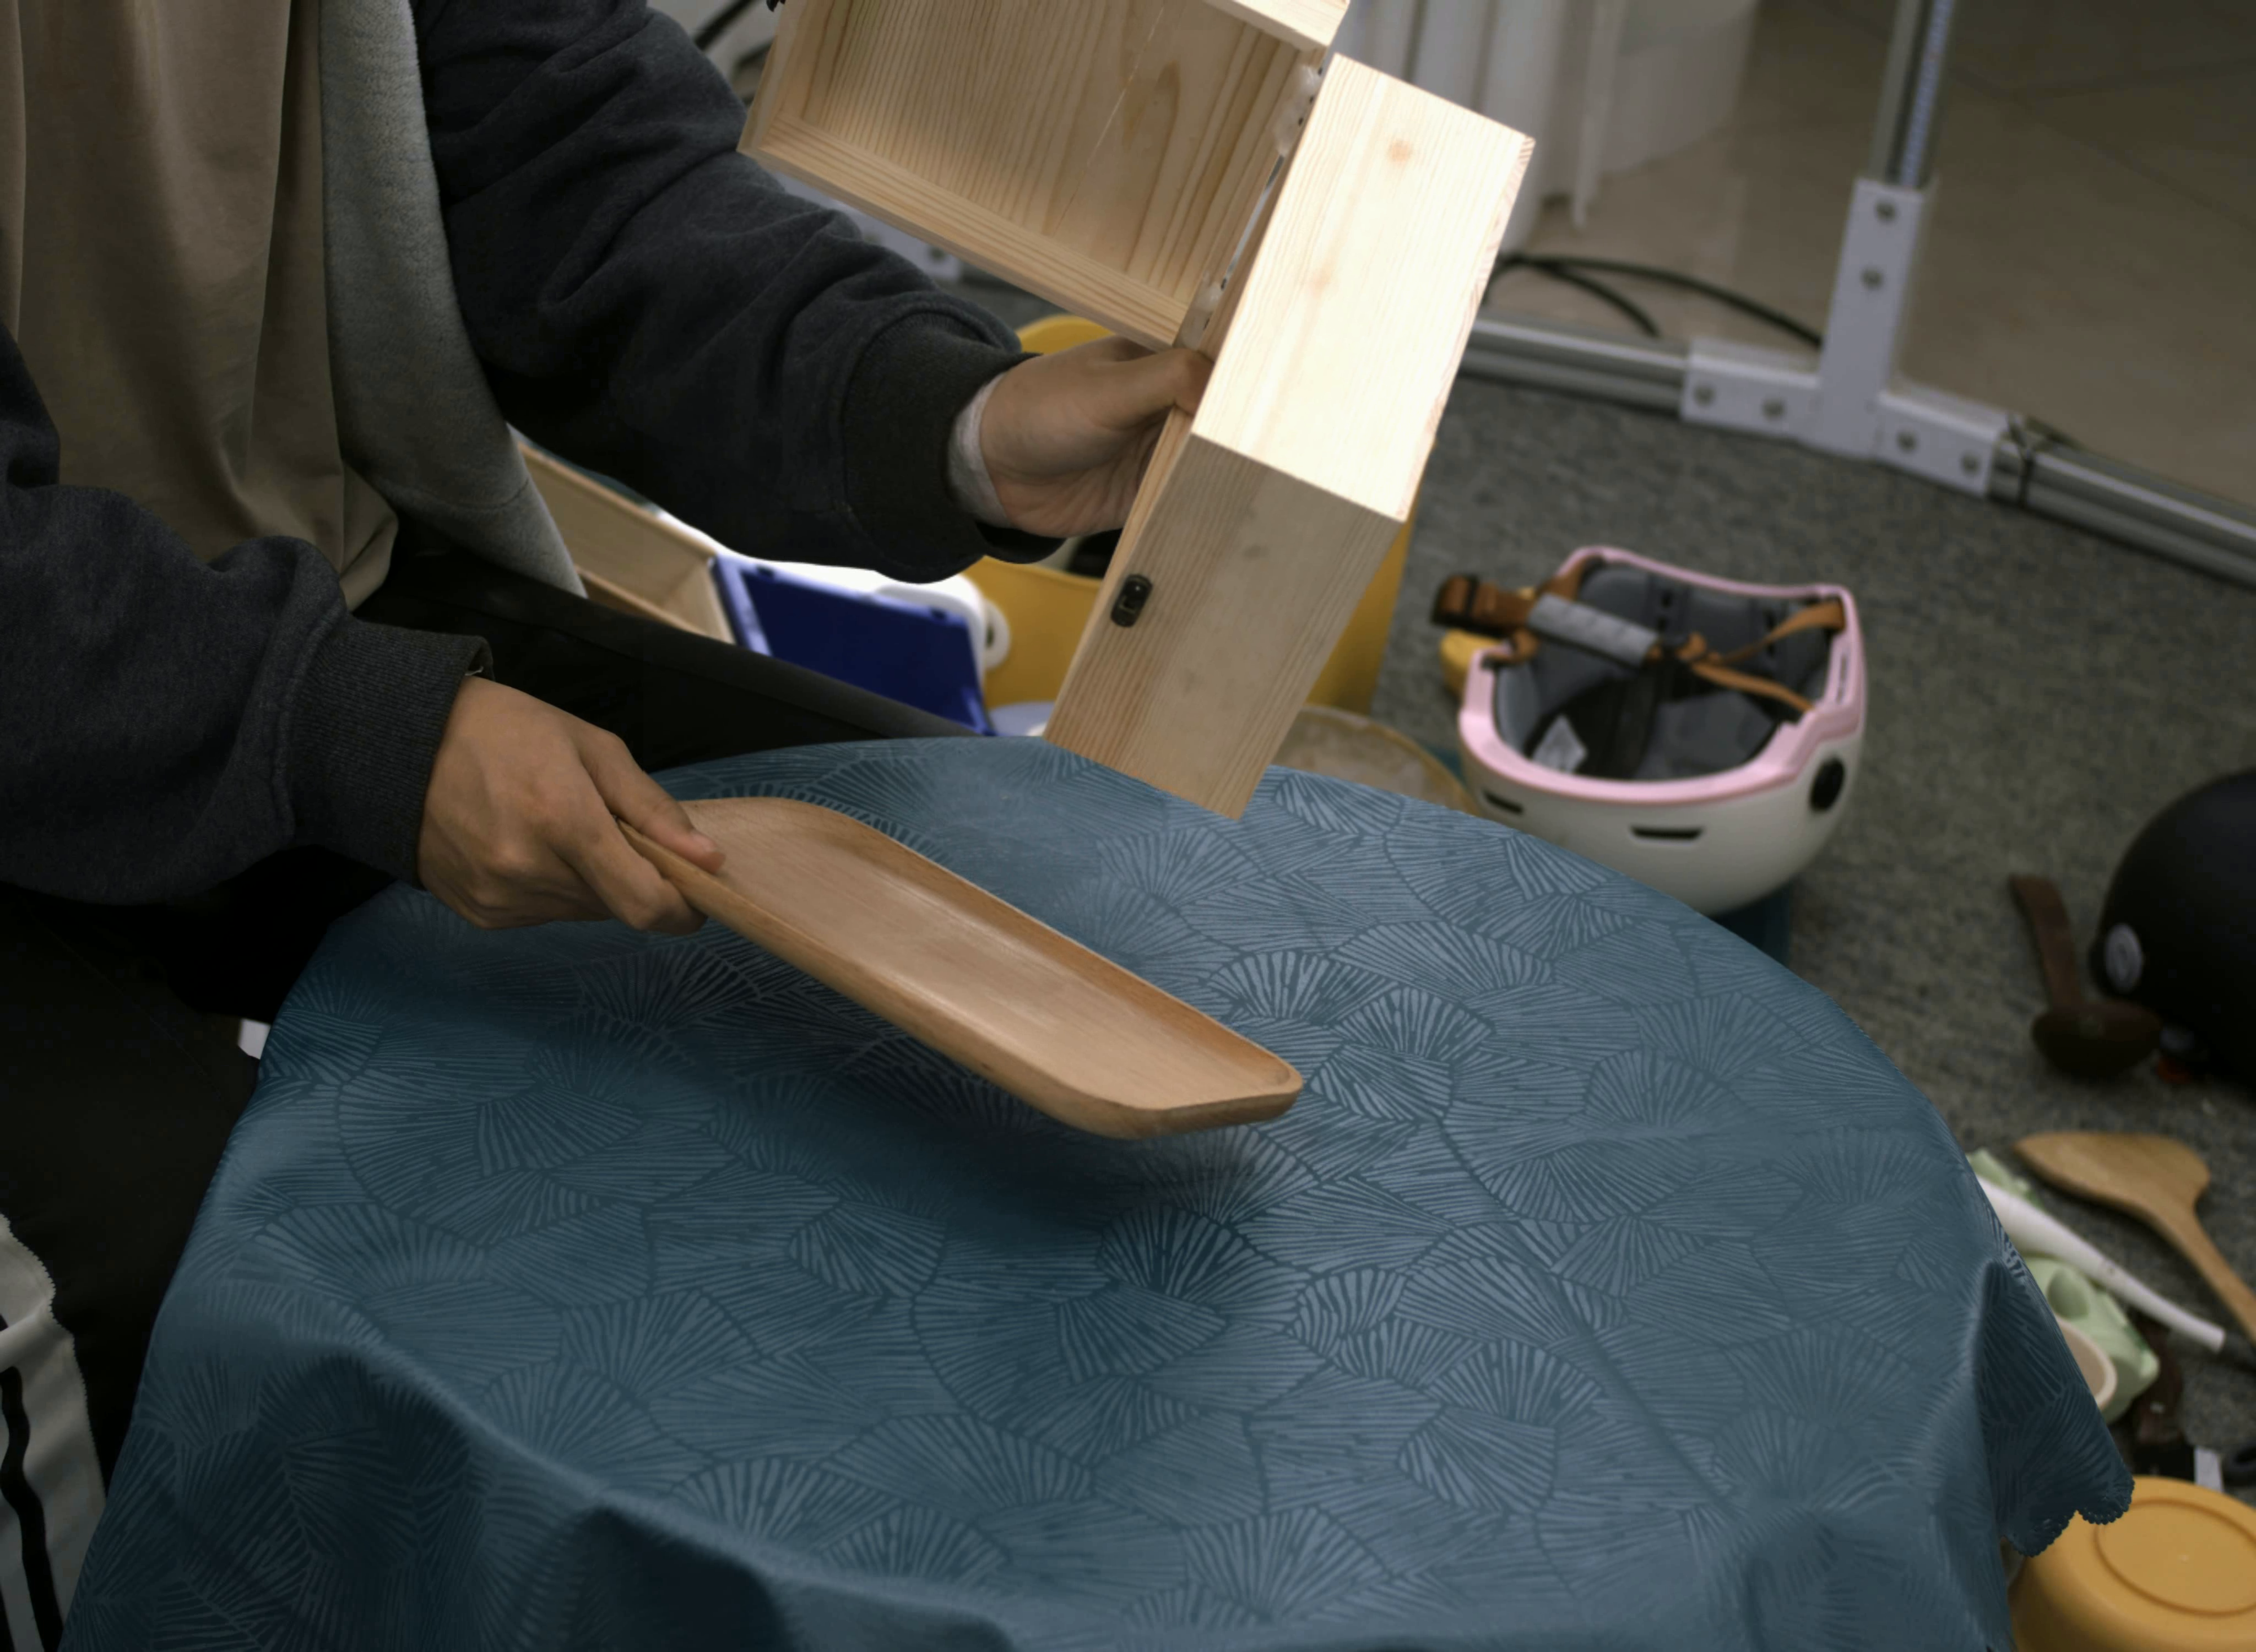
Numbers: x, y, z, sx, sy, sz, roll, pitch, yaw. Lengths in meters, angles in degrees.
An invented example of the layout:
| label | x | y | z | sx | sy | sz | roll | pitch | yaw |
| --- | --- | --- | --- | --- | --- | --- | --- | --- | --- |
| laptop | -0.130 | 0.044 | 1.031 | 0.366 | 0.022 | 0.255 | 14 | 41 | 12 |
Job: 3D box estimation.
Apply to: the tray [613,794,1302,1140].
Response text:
| label | x | y | z | sx | sy | sz | roll | pitch | yaw |
| --- | --- | --- | --- | --- | --- | --- | --- | --- | --- |
| tray | -0.062 | 0.046 | 1.838 | 0.252 | 0.023 | 0.129 | 28 | 15 | 34 |

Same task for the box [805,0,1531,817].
| label | x | y | z | sx | sy | sz | roll | pitch | yaw |
| --- | --- | --- | --- | --- | --- | --- | --- | --- | --- |
| box | -0.015 | -0.189 | 1.826 | 0.253 | 0.181 | 0.266 | 22 | 52 | 0 |
